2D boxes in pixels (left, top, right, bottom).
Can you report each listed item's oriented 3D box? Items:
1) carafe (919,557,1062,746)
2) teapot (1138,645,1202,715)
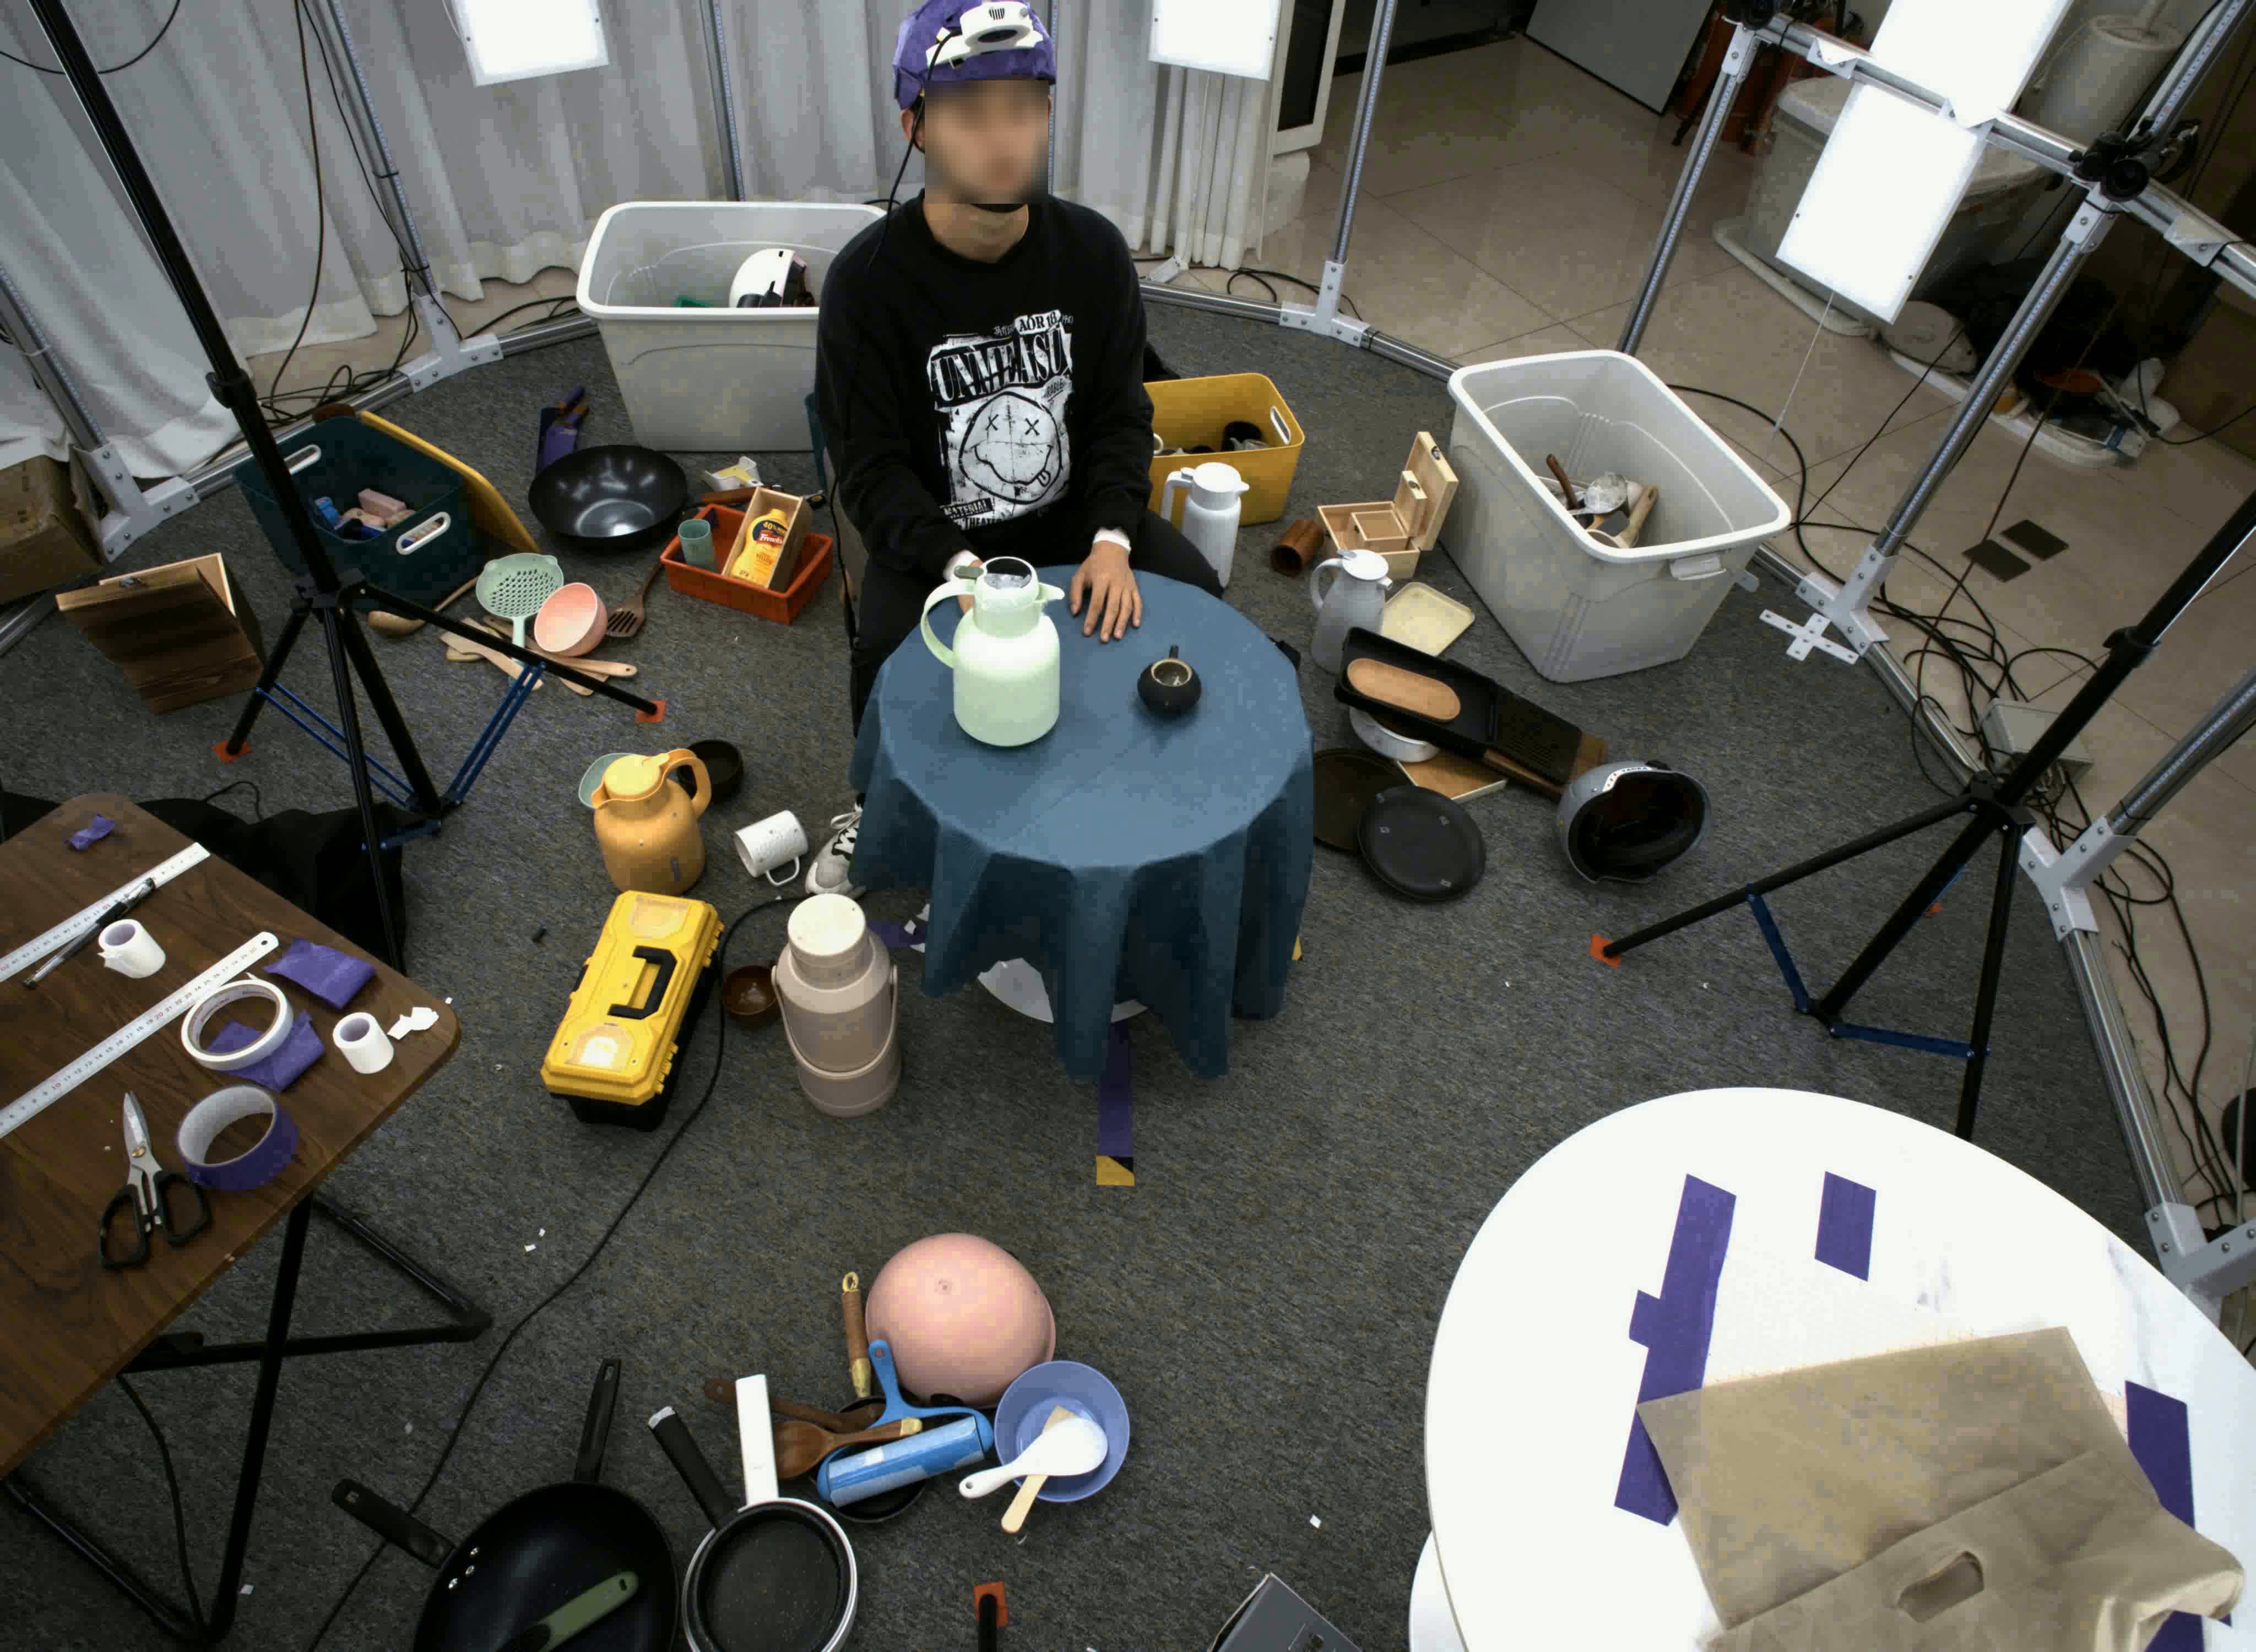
[{"bbox_3d":[-0.176,-0.236,1.702,0.187,0.250,0.148,2,50,3],"label":"carafe"},{"bbox_3d":[0.060,-0.200,1.811,0.091,0.052,0.136,9,50,2],"label":"teapot"}]
